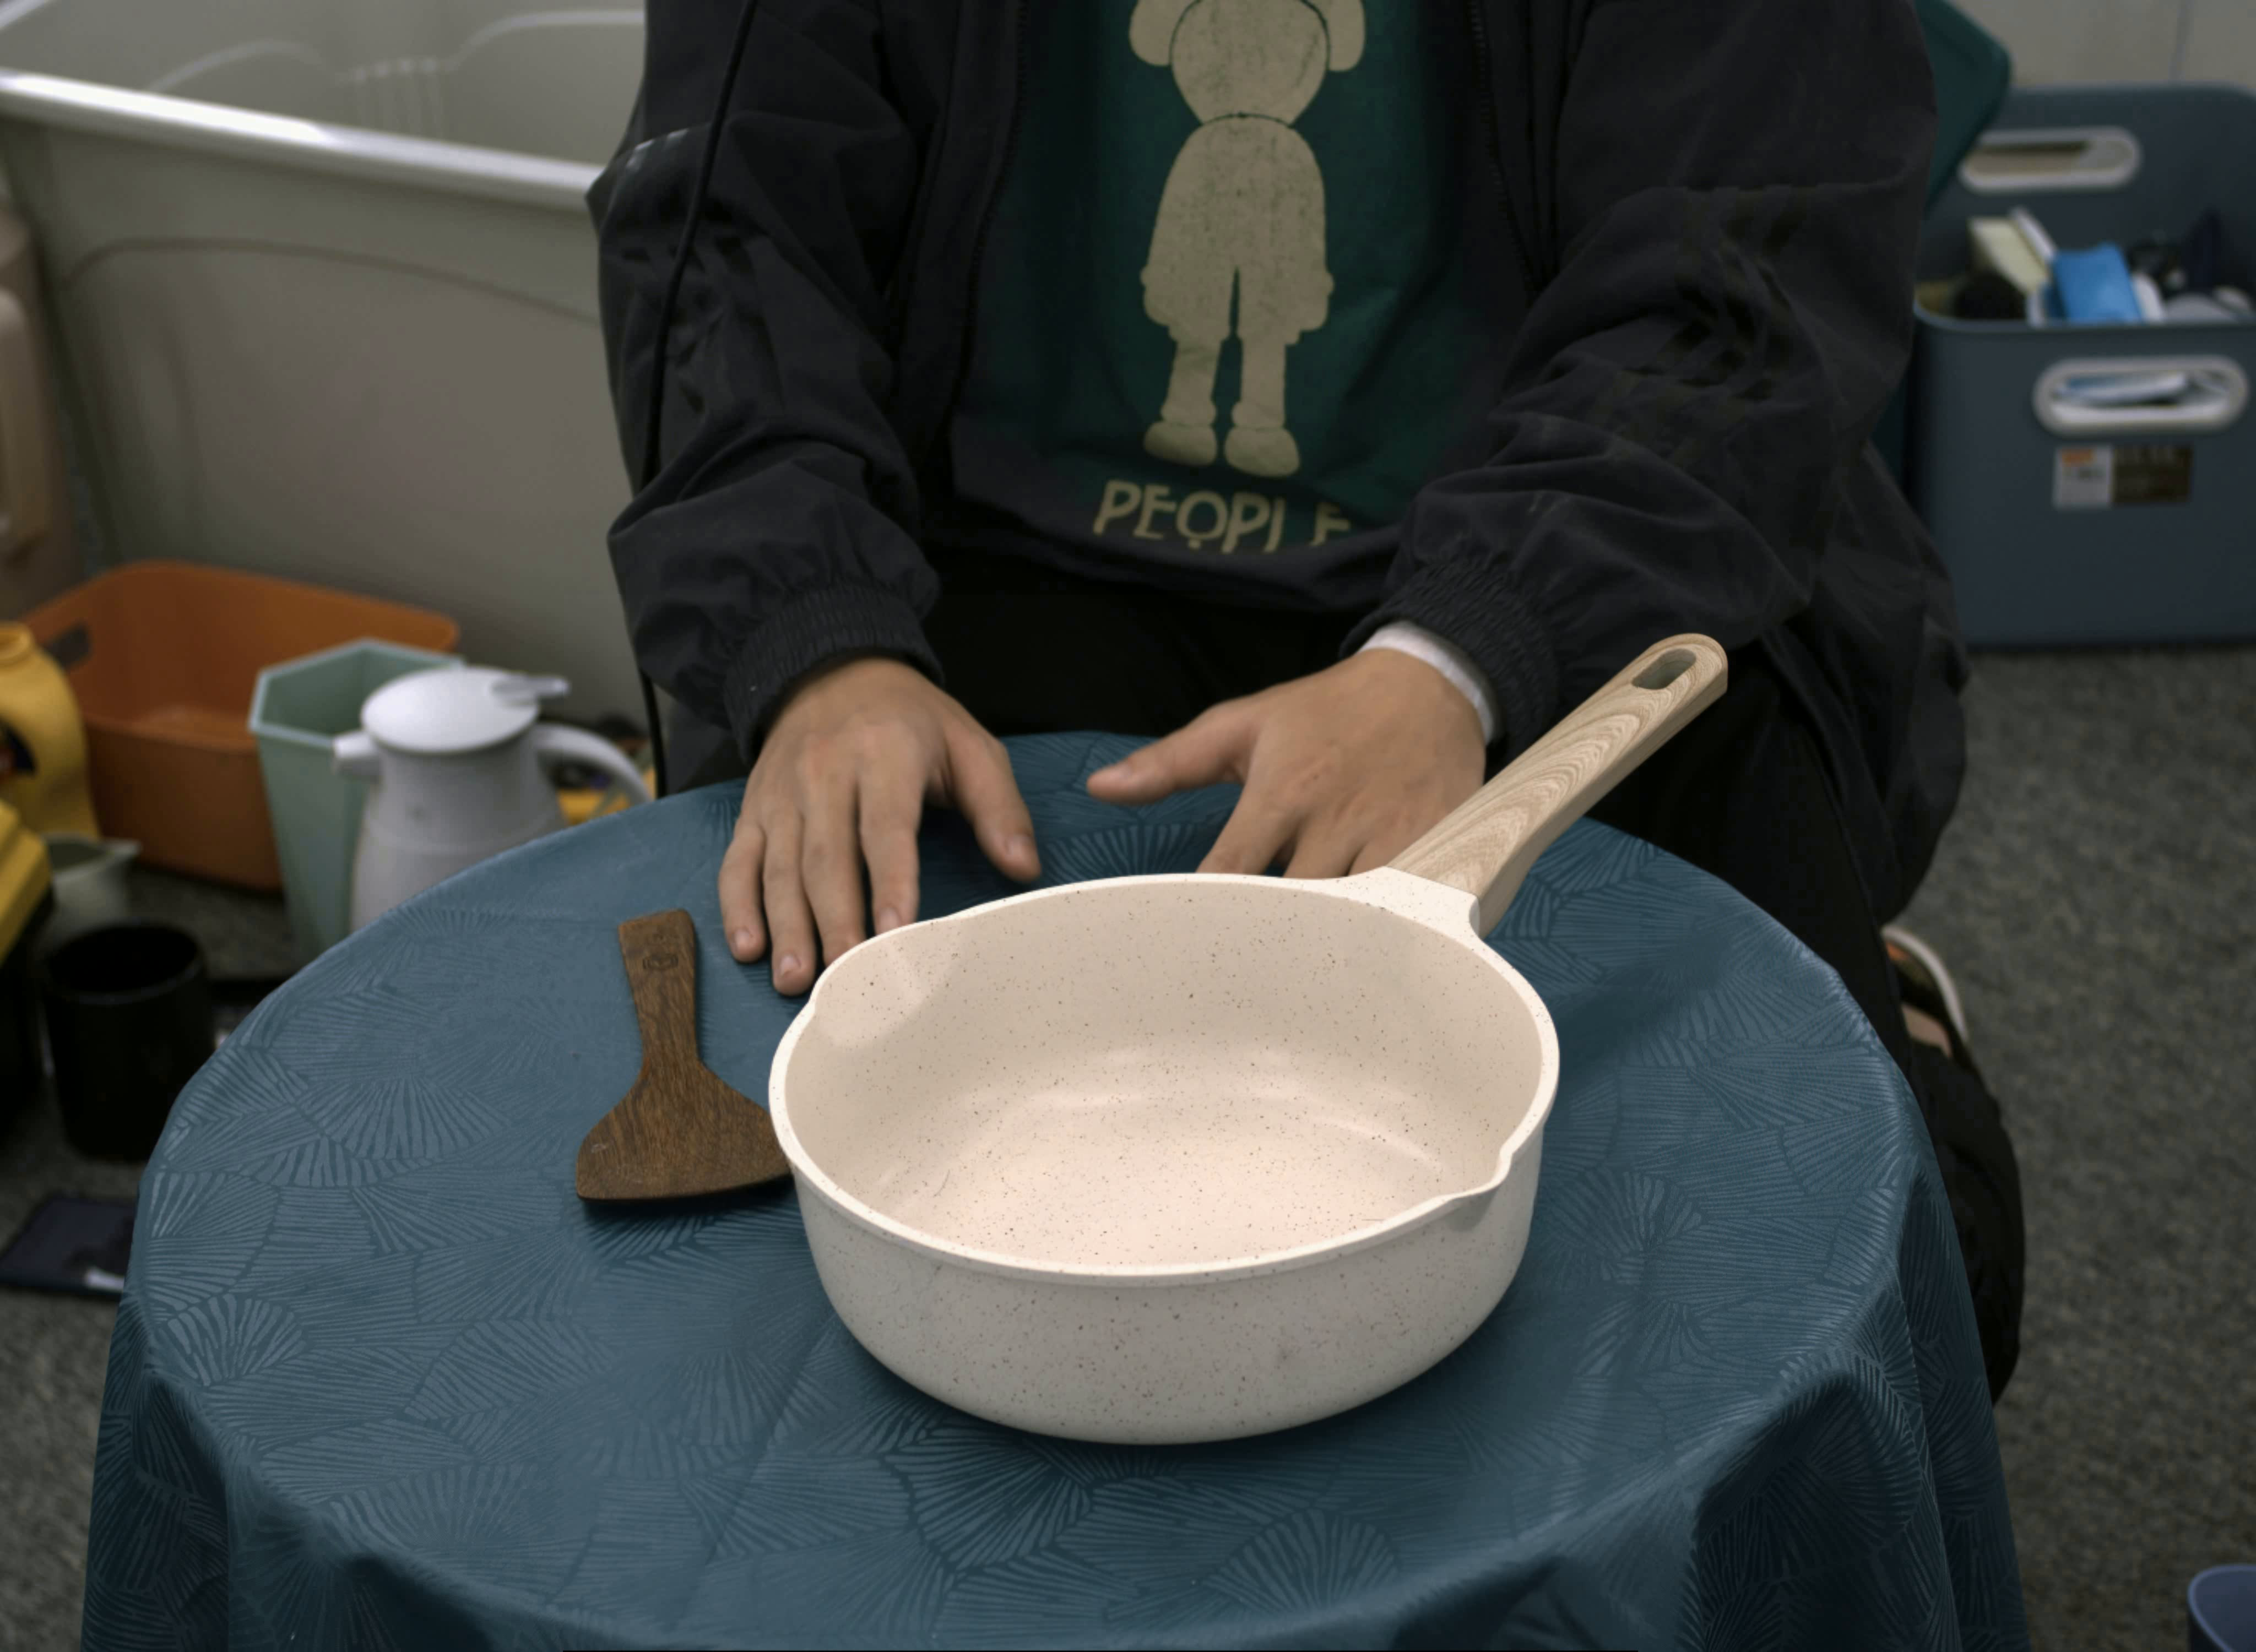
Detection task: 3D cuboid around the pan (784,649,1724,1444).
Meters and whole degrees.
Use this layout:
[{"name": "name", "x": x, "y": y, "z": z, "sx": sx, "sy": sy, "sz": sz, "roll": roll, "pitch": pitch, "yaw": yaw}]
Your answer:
[{"name": "pan", "x": 0.074, "y": 0.068, "z": 1.850, "sx": 0.262, "sy": 0.101, "sz": 0.441, "roll": 16, "pitch": 32, "yaw": 35}]

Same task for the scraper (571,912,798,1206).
[{"name": "scraper", "x": -0.158, "y": 0.080, "z": 1.946, "sx": 0.075, "sy": 0.011, "sz": 0.214, "roll": -5, "pitch": 26, "yaw": -6}]
